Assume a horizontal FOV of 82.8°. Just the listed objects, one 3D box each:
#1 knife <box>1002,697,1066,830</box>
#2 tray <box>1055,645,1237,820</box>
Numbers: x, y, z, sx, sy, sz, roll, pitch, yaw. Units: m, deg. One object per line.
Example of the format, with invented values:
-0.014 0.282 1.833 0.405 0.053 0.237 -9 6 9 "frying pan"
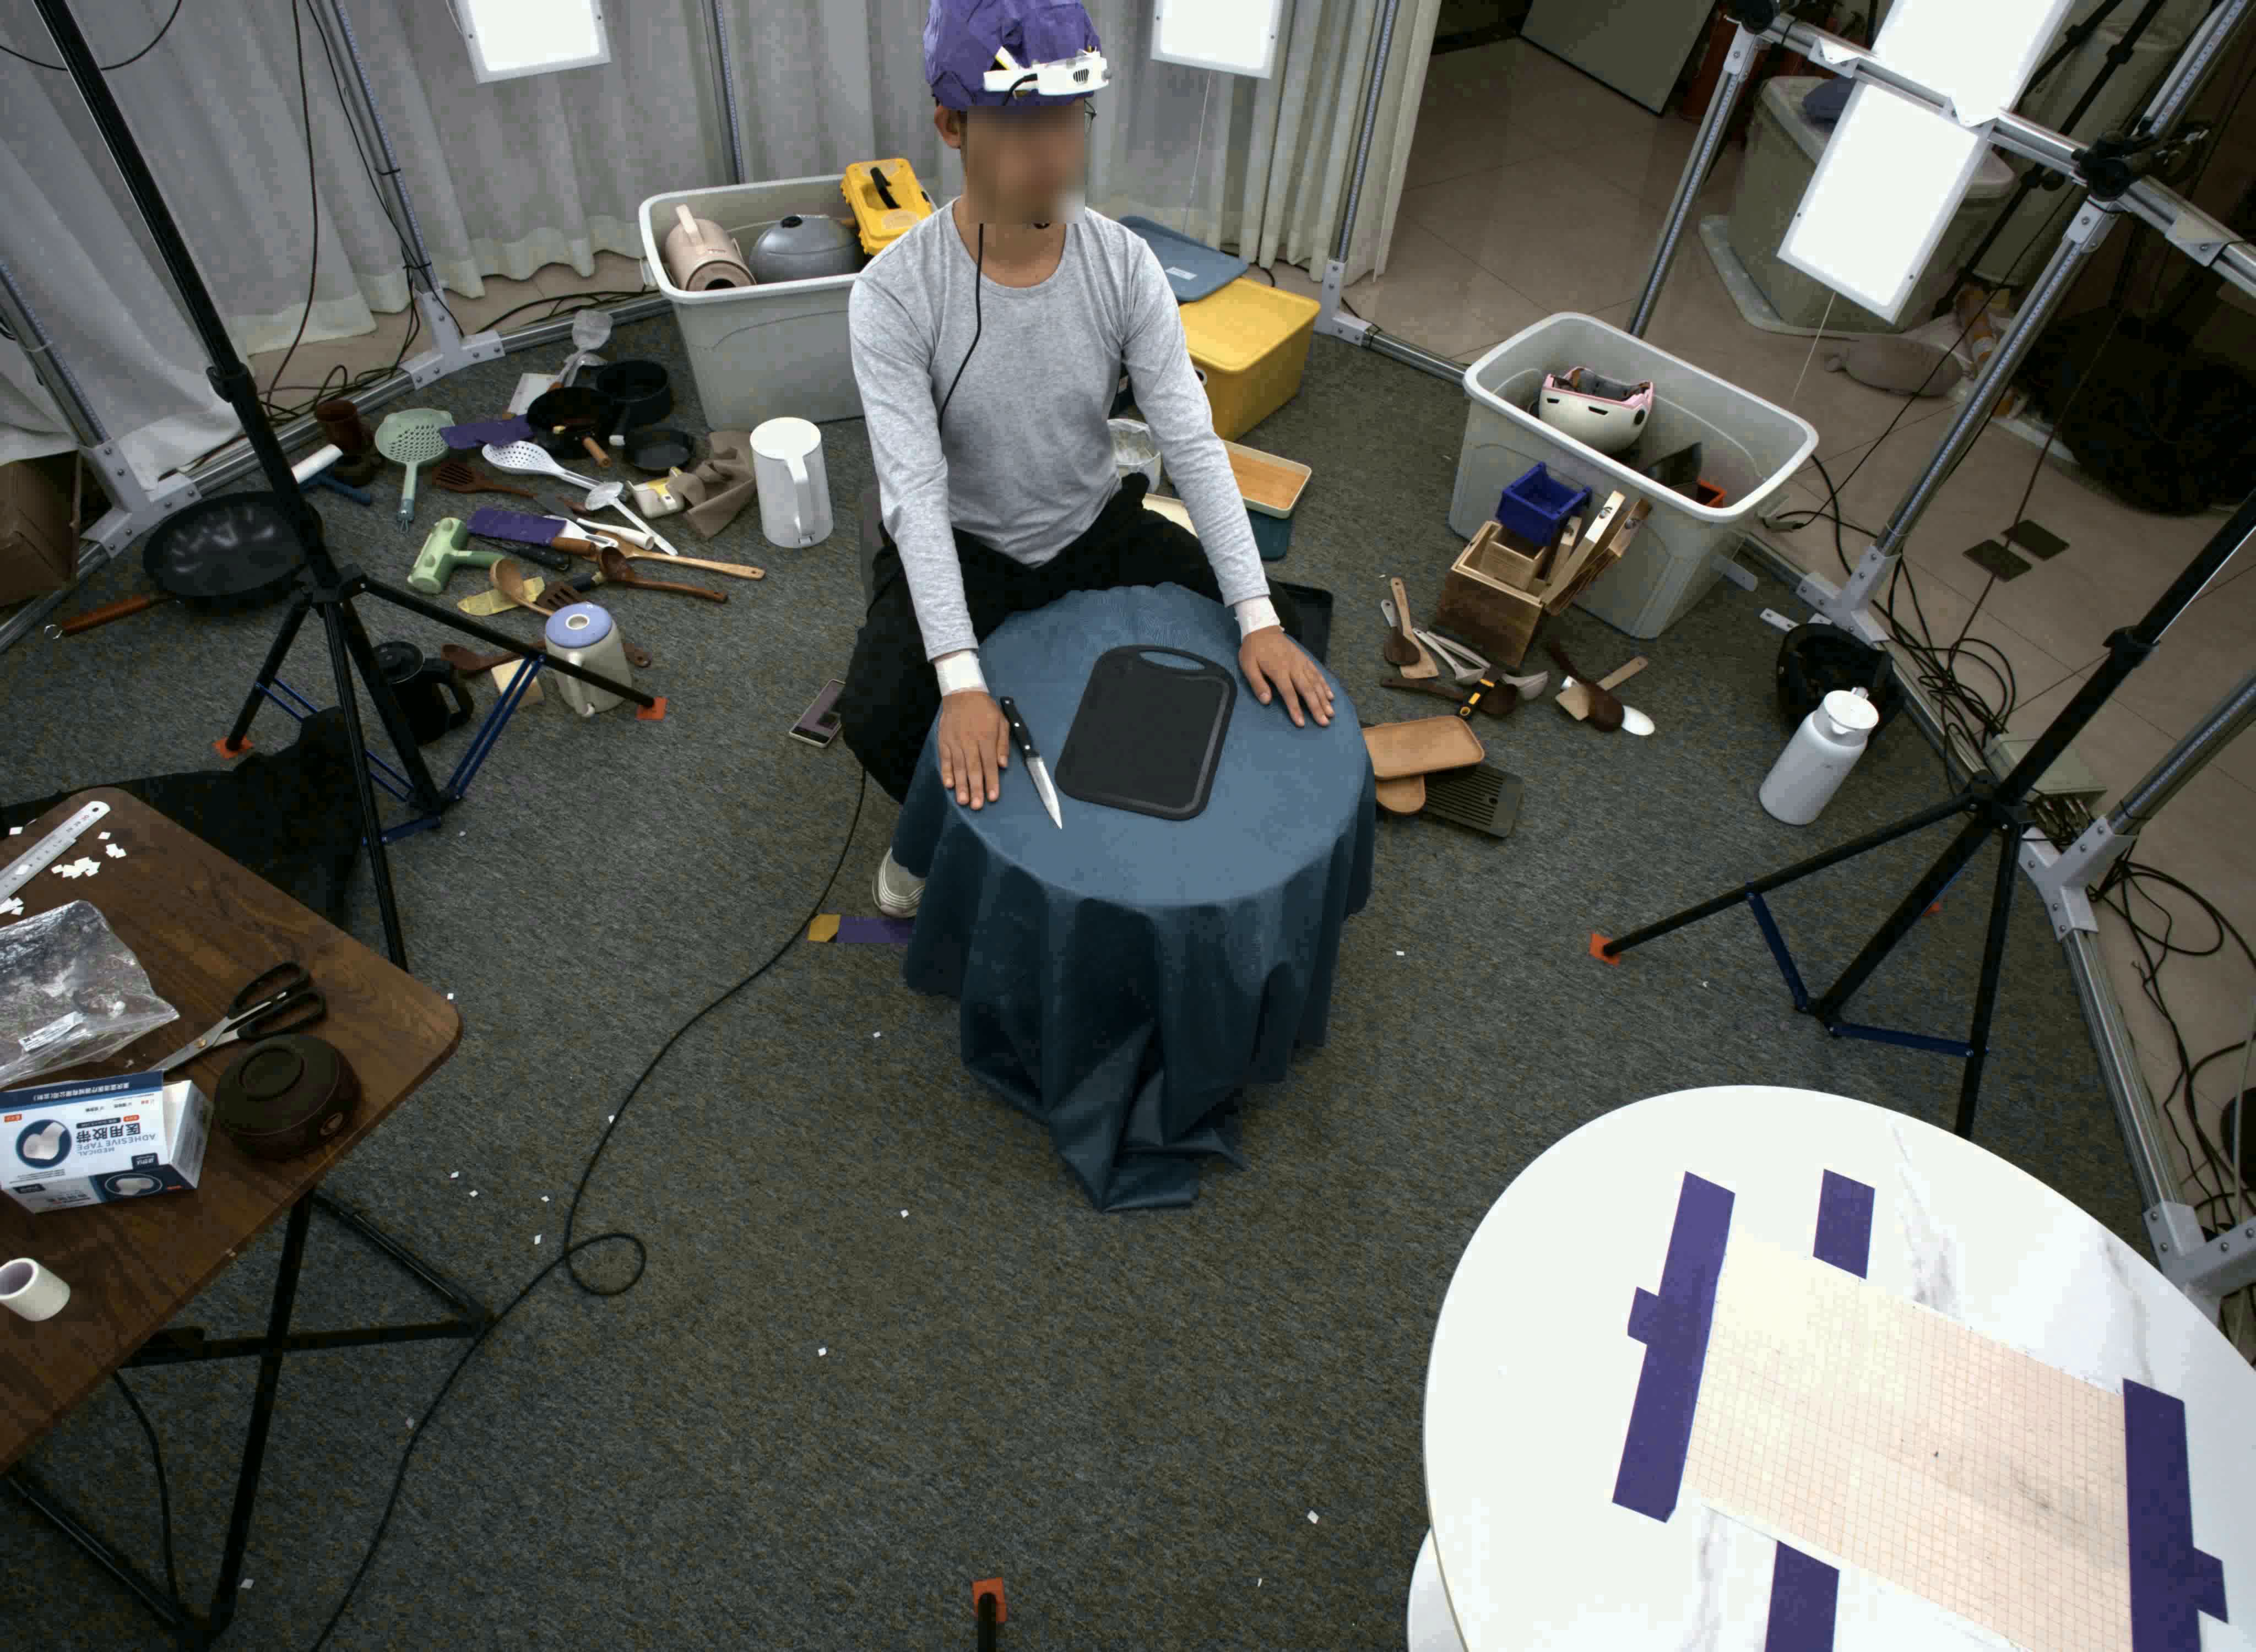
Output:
-0.127 -0.085 1.726 0.024 0.016 0.243 -16 55 -14 "knife"
0.031 -0.144 1.790 0.211 0.009 0.332 13 49 7 "tray"
